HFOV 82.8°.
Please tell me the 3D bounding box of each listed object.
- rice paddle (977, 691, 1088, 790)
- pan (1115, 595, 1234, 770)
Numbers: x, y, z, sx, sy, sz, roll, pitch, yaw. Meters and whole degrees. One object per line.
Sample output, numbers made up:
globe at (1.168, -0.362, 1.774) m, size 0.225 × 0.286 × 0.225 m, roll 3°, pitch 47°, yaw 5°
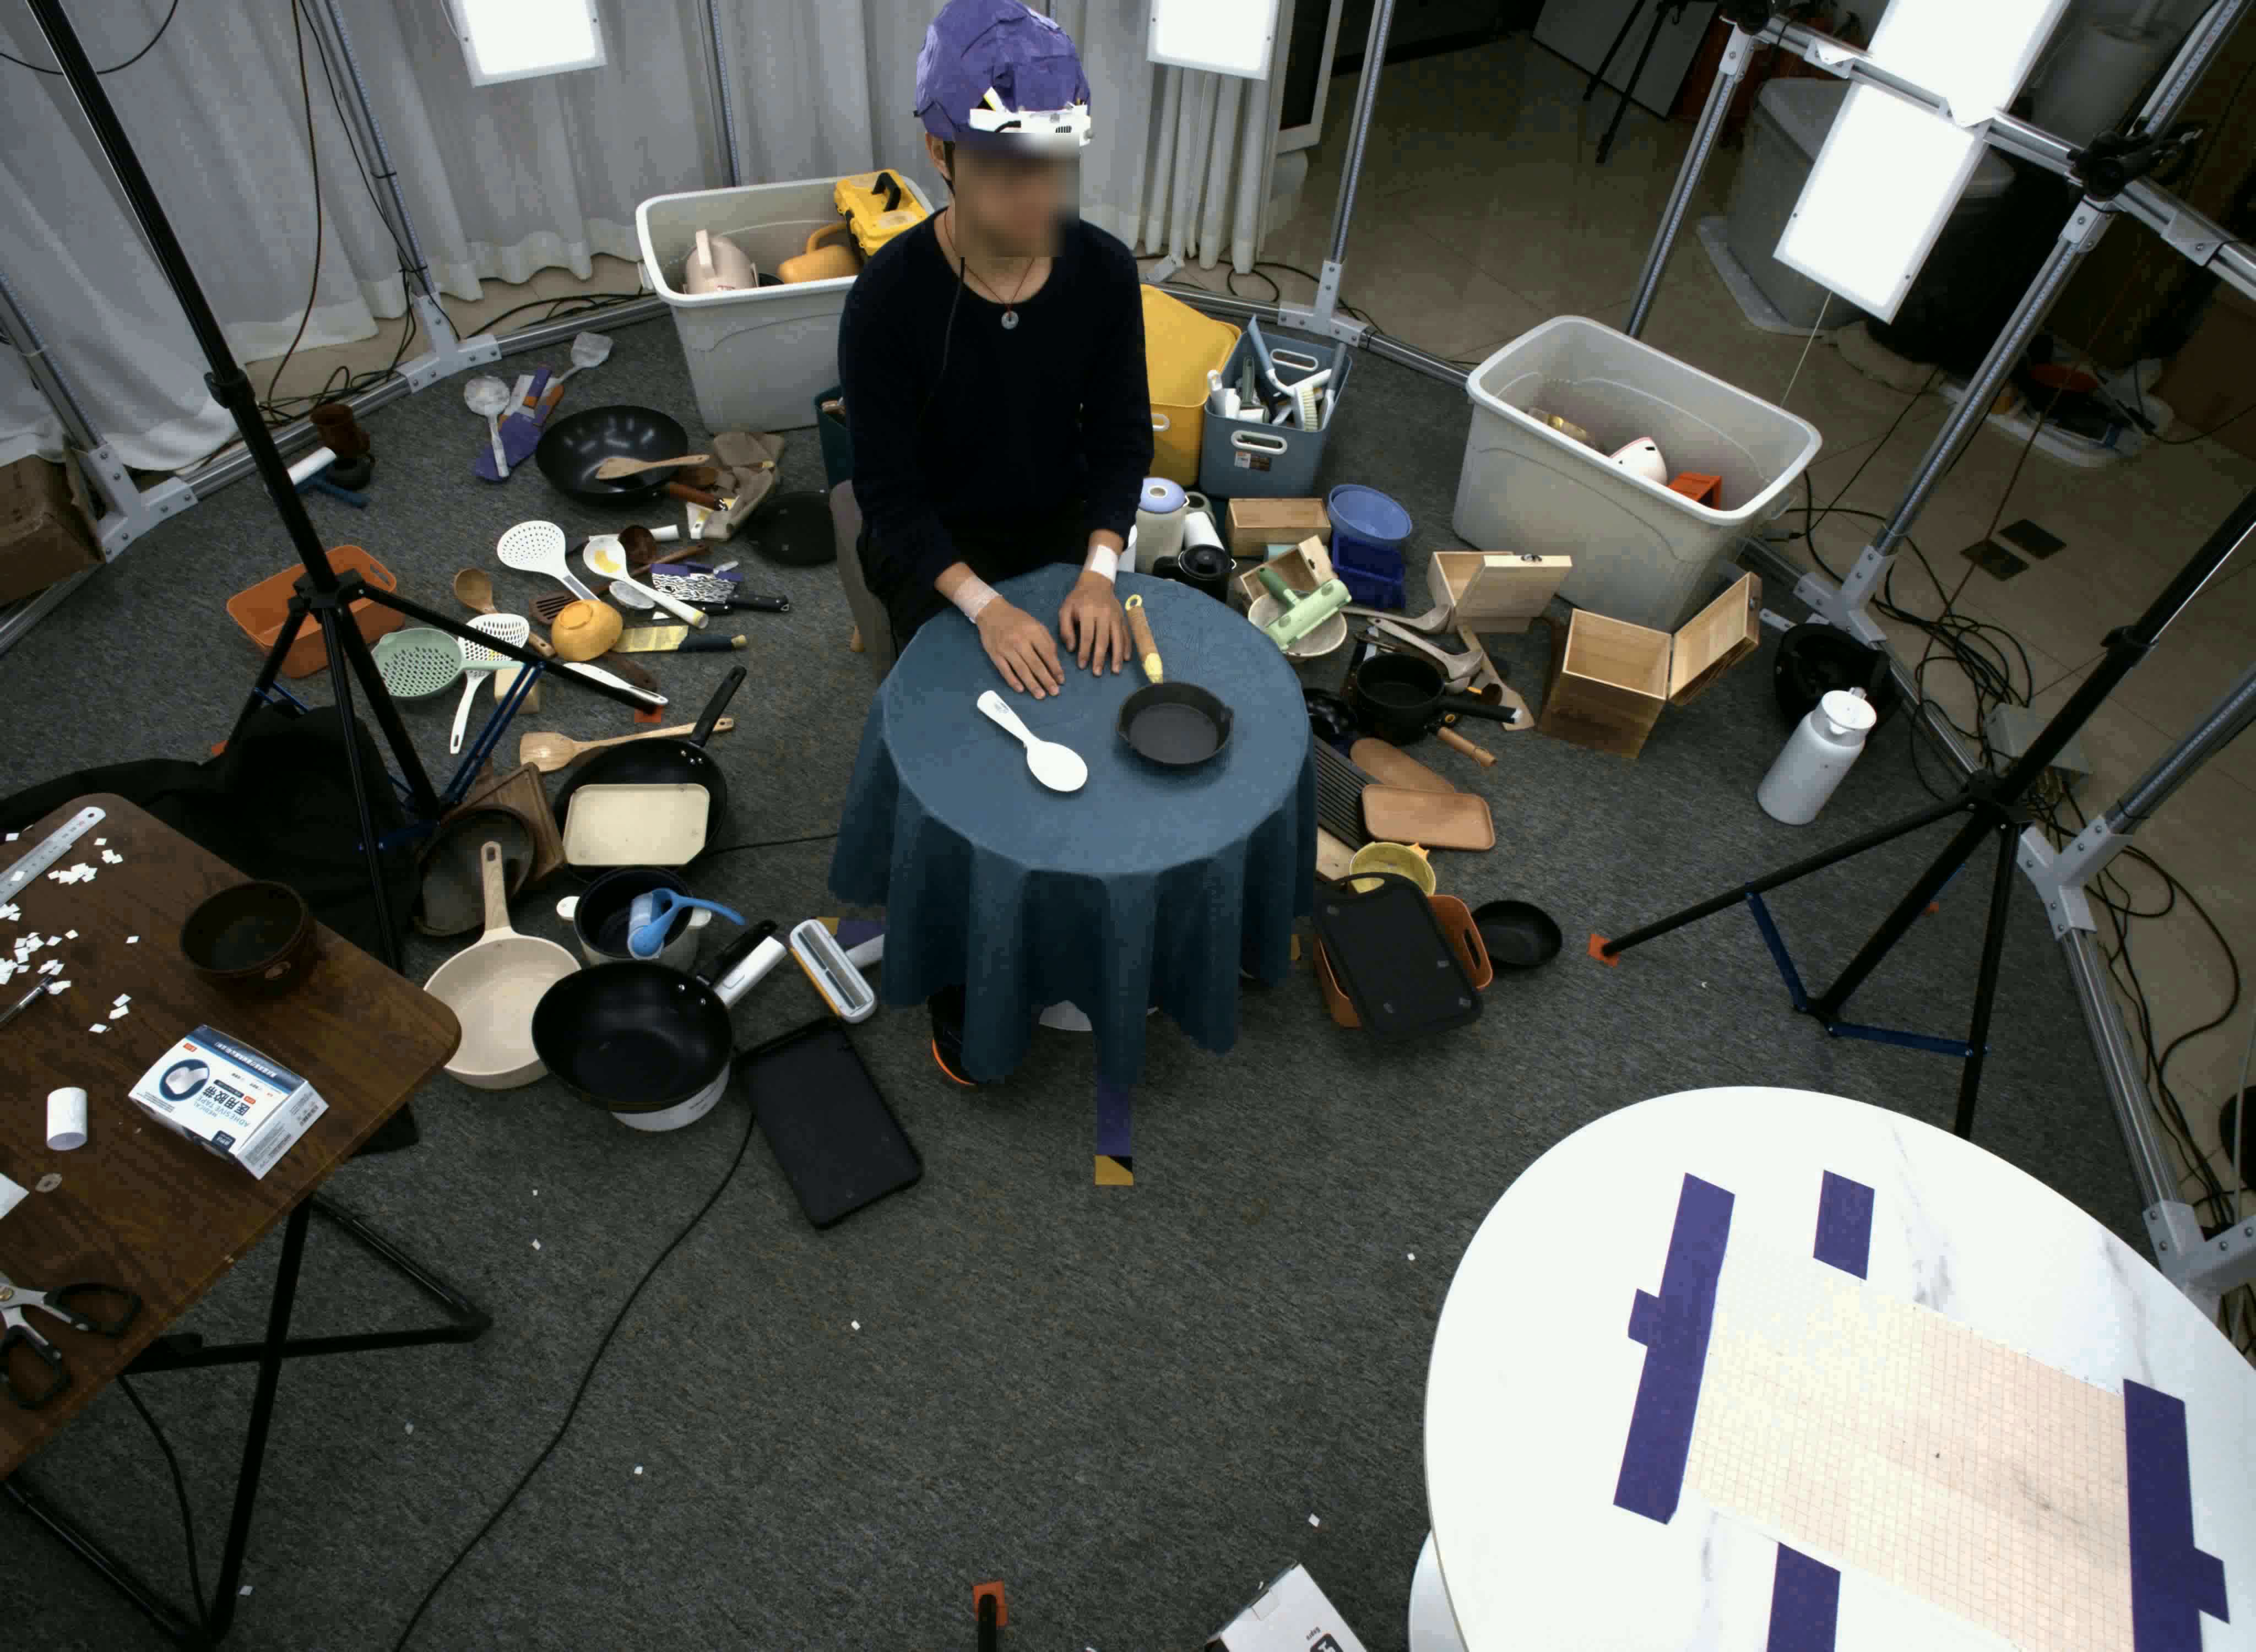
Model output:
rice paddle at (-0.131, -0.116, 1.742) m, size 0.069 × 0.029 × 0.209 m, roll -33°, pitch 58°, yaw -26°
pan at (0.045, -0.205, 1.817) m, size 0.169 × 0.048 × 0.332 m, roll -8°, pitch 51°, yaw -10°
